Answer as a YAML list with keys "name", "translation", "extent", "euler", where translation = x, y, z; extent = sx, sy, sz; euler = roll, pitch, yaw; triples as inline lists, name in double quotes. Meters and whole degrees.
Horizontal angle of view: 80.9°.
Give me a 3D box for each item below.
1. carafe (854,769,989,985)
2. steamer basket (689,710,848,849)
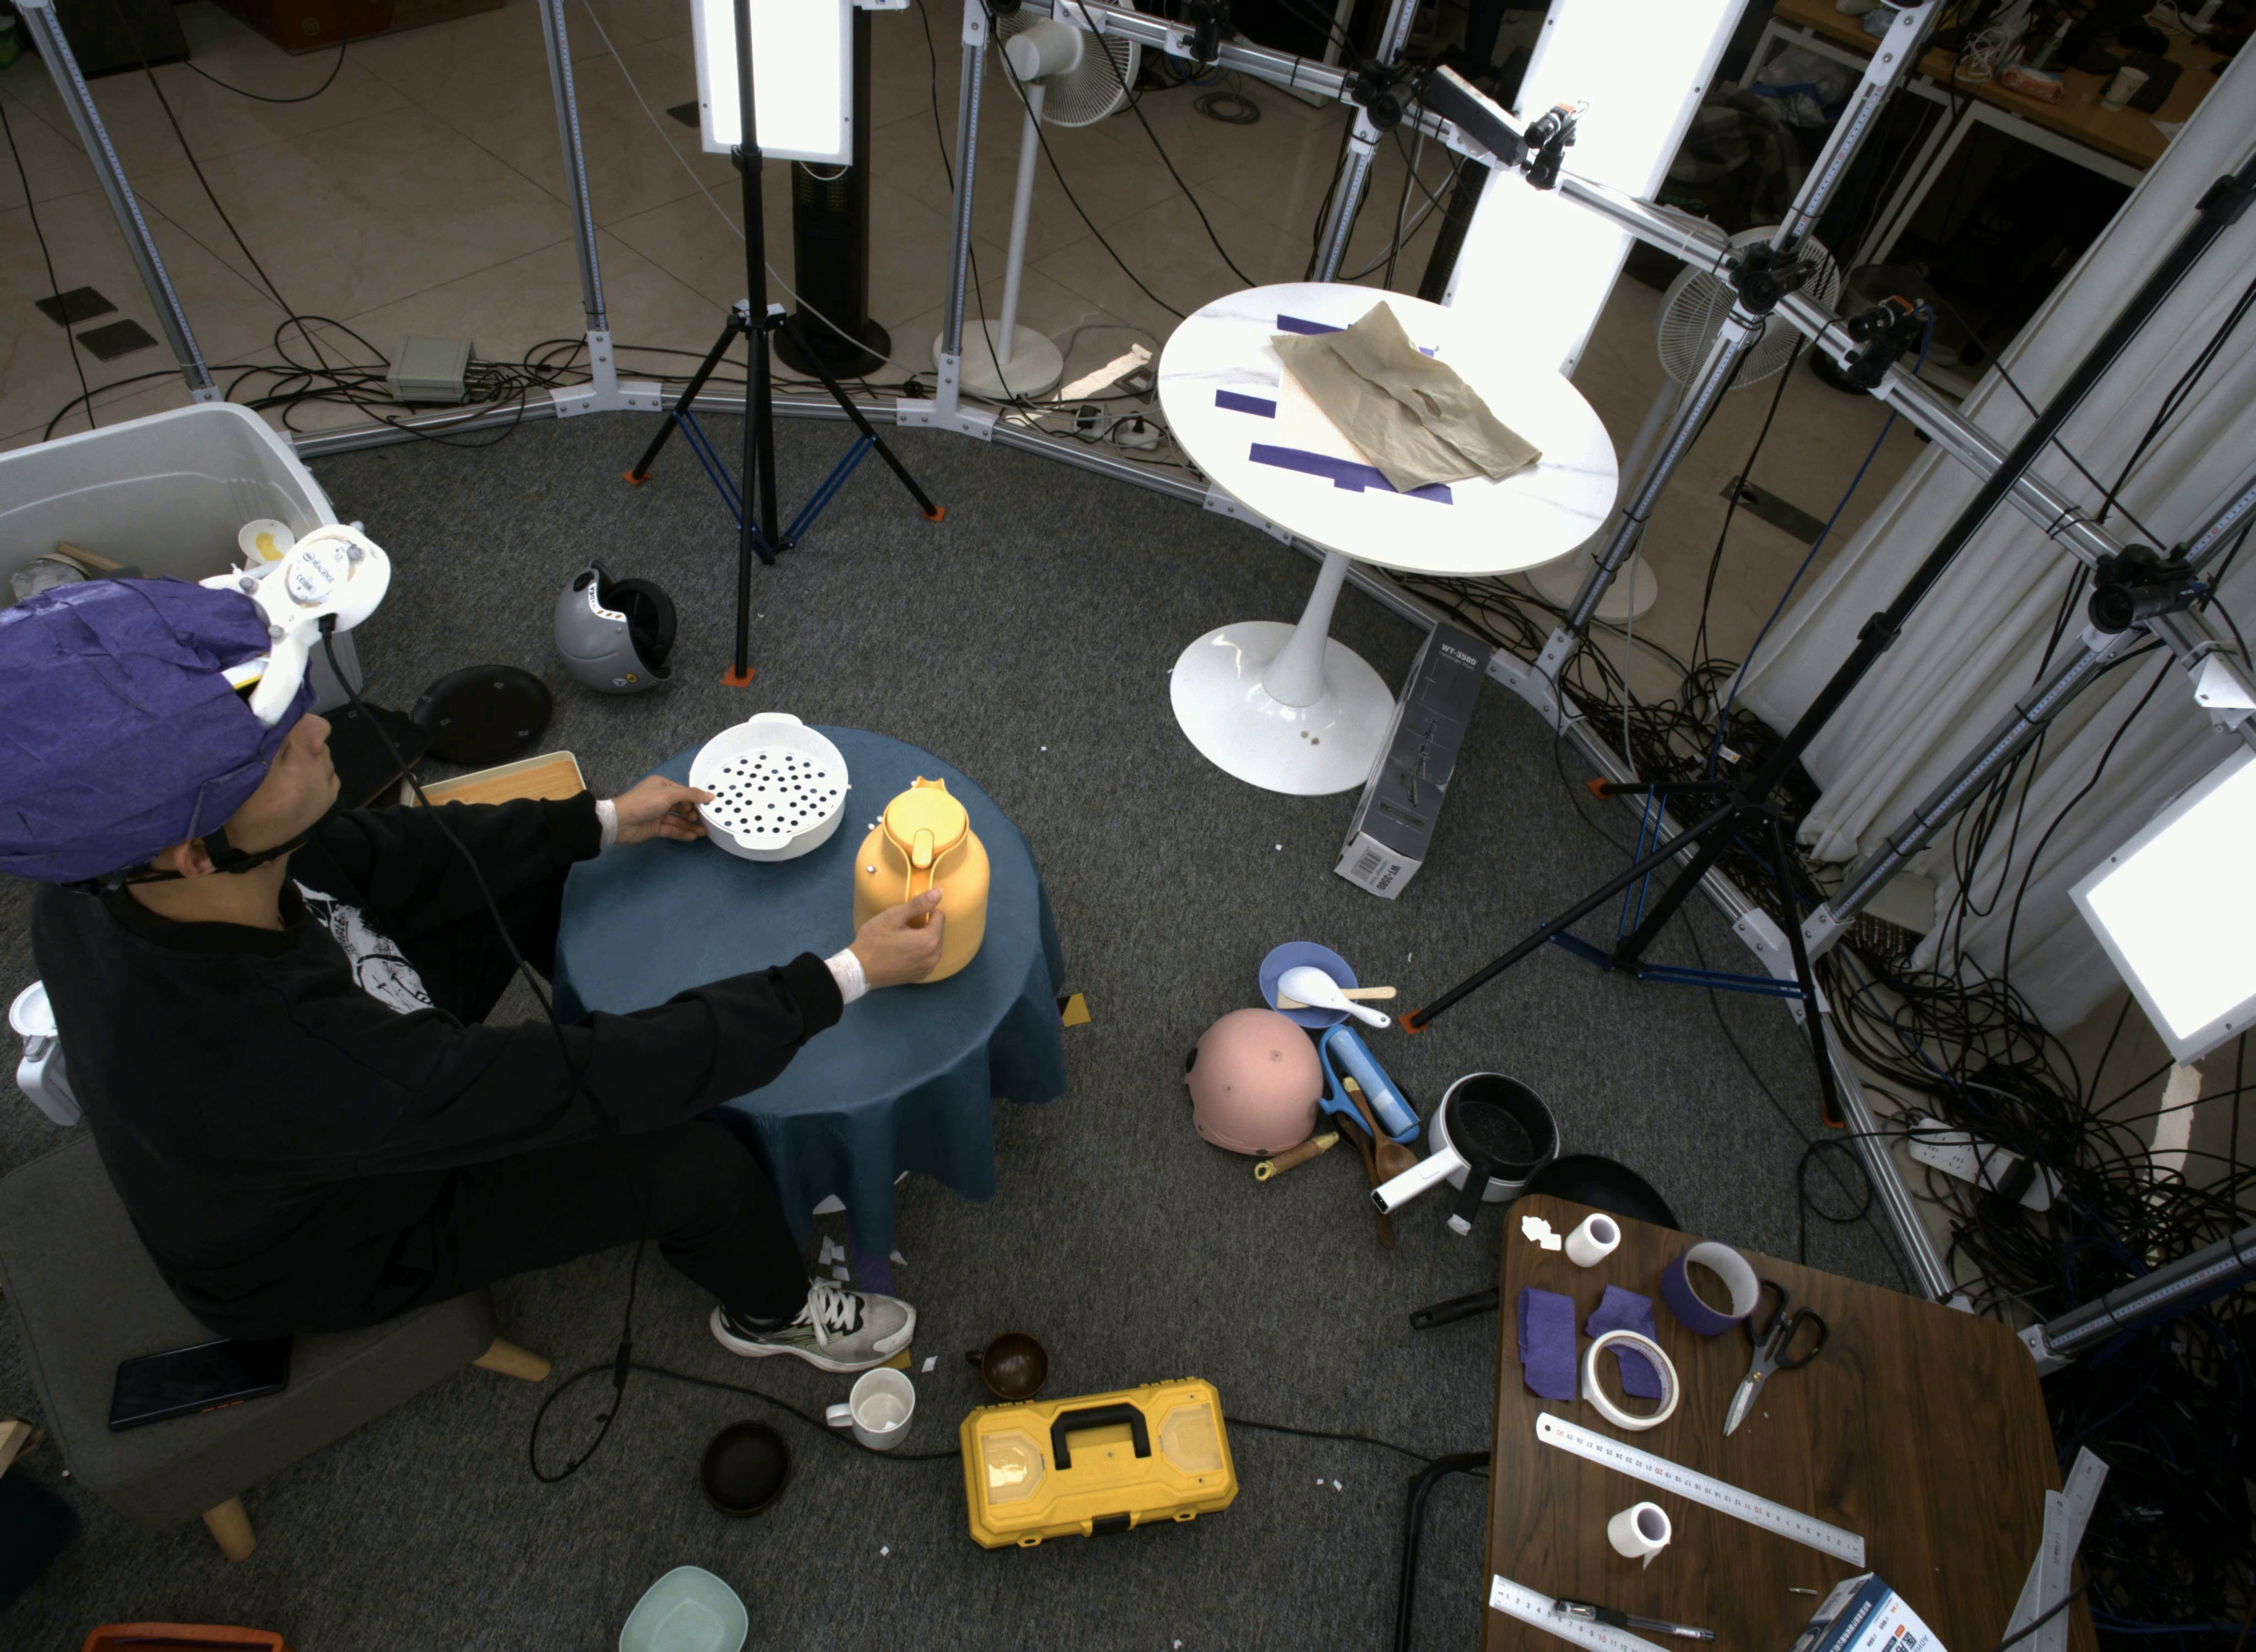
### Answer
- name: "carafe"
  translation: [-0.248, 0.075, 1.541]
  extent: [0.162, 0.267, 0.198]
  euler: [5, 50, -5]
- name: "steamer basket"
  translation: [-0.471, -0.057, 1.695]
  extent: [0.202, 0.071, 0.225]
  euler: [6, 43, -15]
